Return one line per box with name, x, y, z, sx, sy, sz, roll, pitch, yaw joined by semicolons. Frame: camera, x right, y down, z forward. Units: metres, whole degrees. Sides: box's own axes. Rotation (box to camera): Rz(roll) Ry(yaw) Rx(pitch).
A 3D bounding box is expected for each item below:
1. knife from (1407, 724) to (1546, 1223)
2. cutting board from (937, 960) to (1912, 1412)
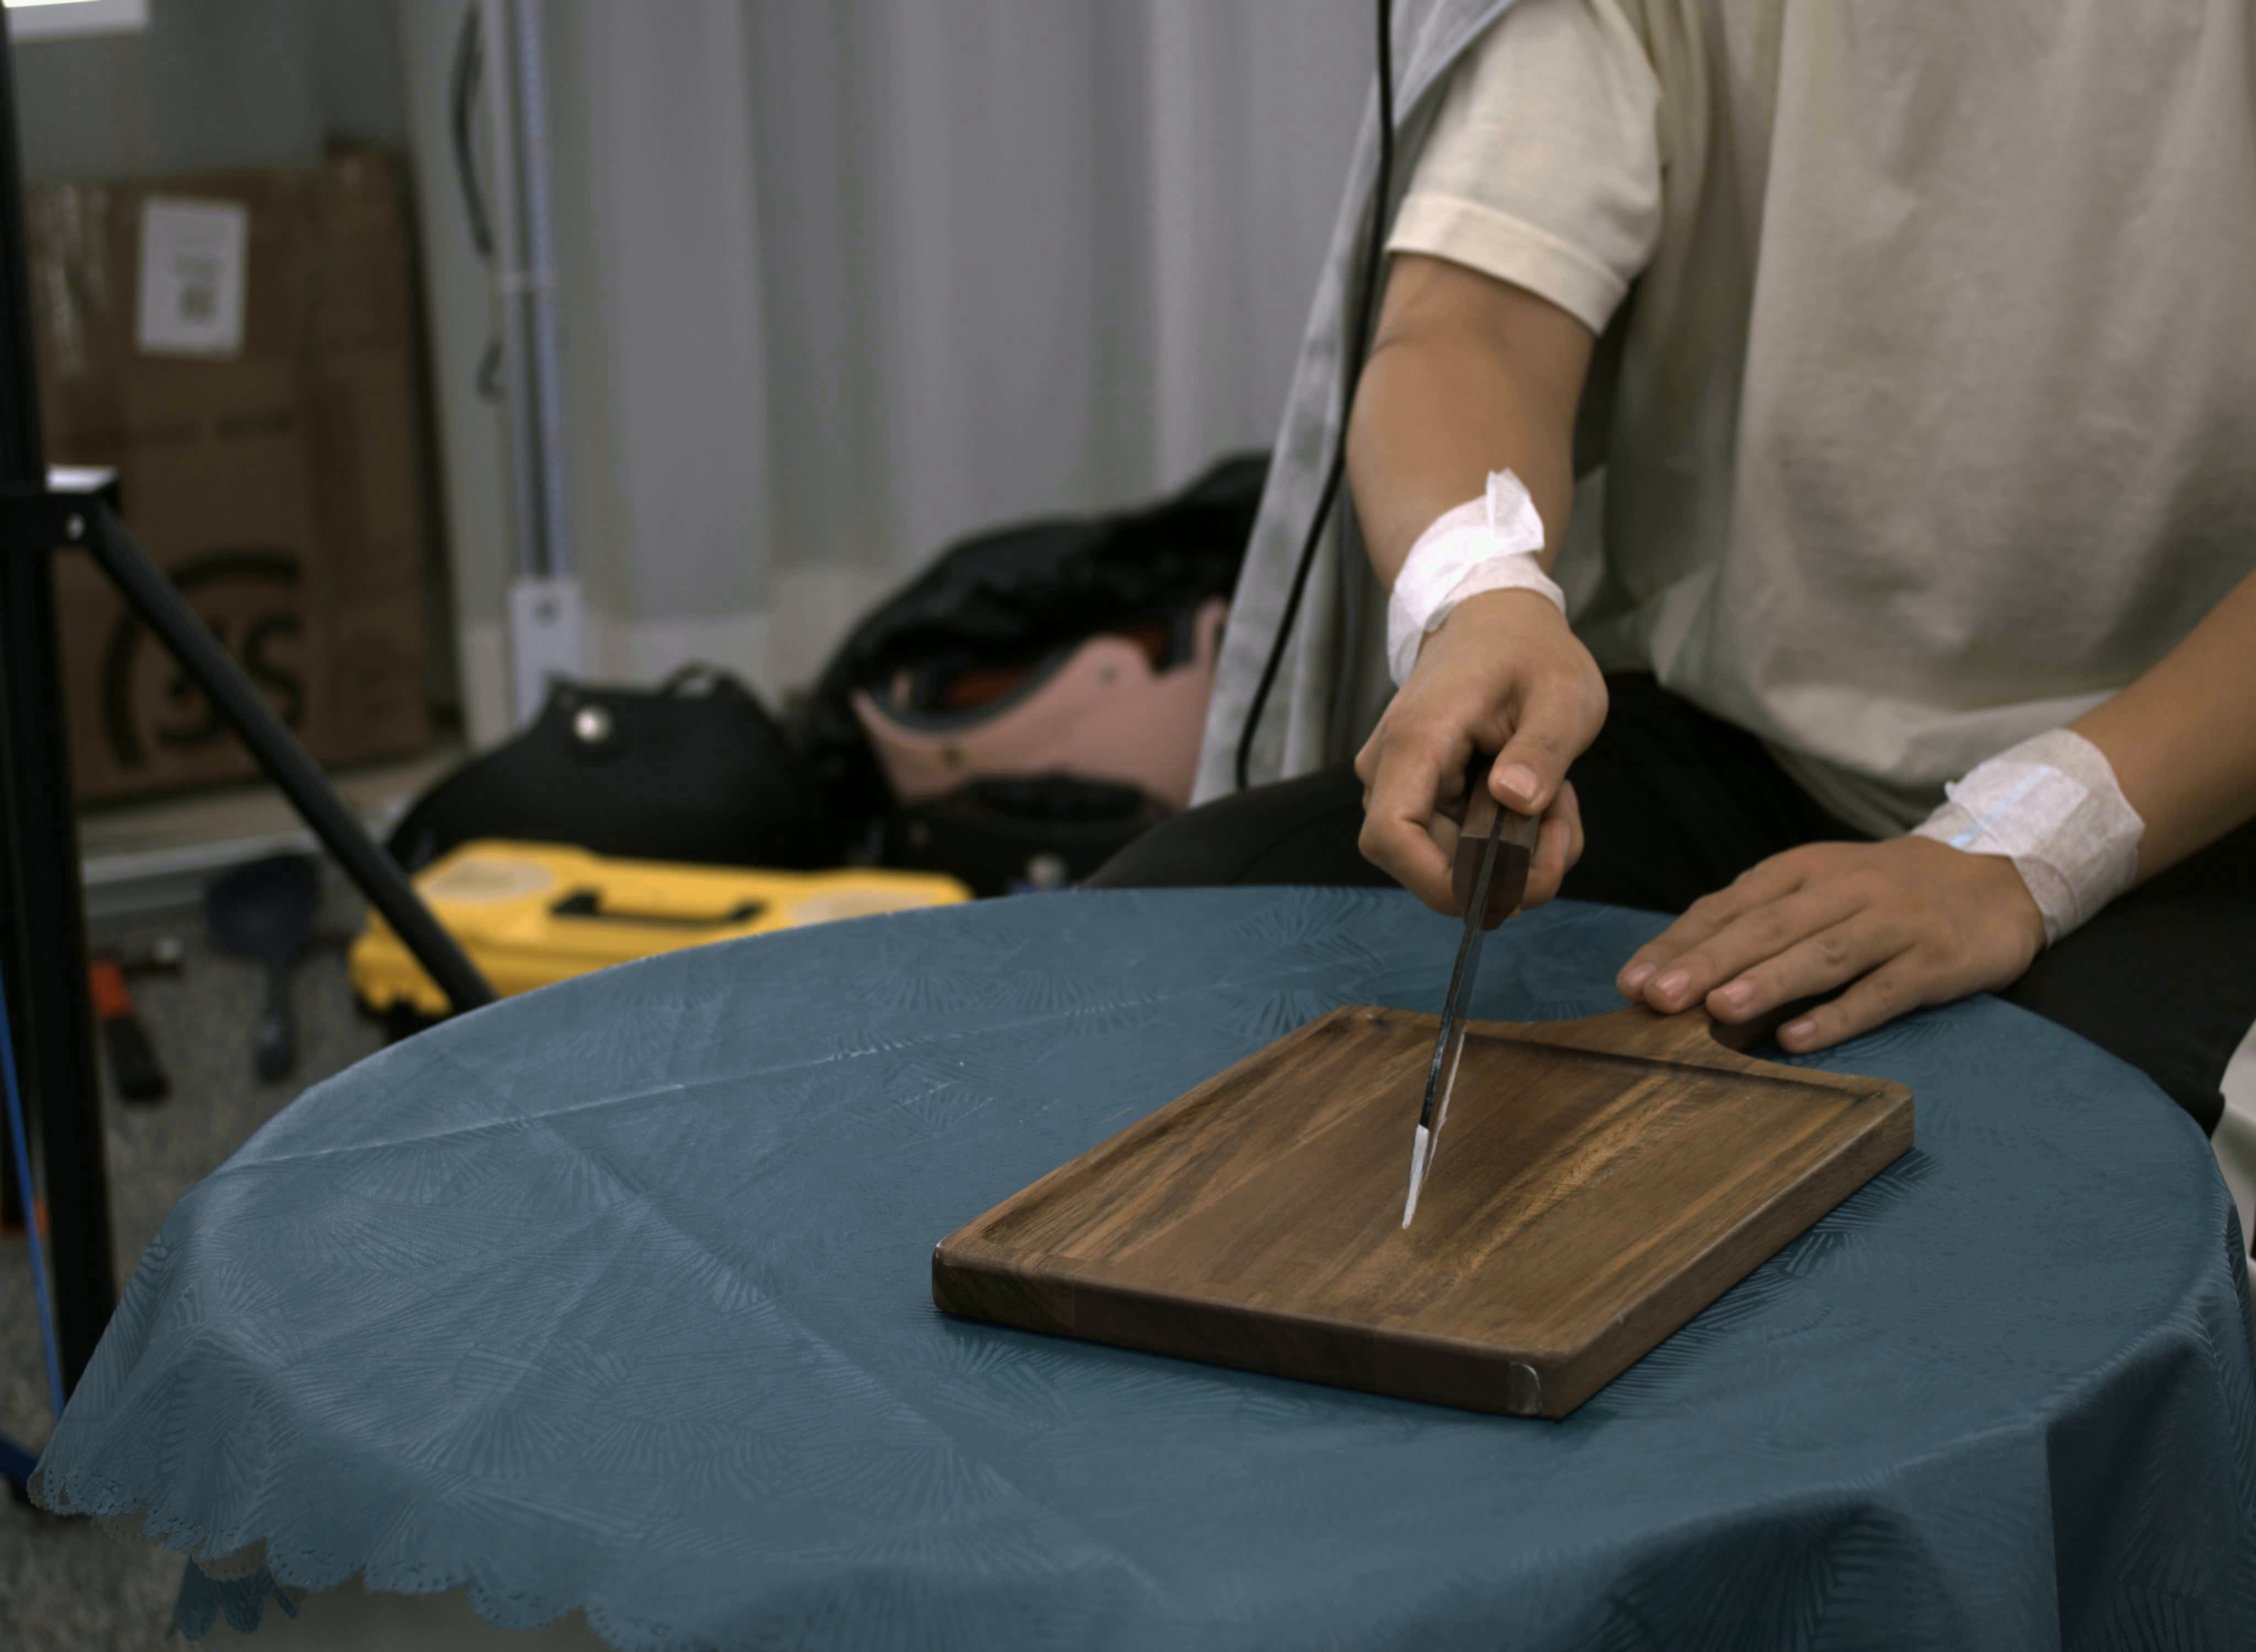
knife;0.102;0.040;1.589;0.024;0.068;0.299;9;20;5
cutting board;0.114;0.095;1.554;0.204;0.023;0.346;5;16;30
